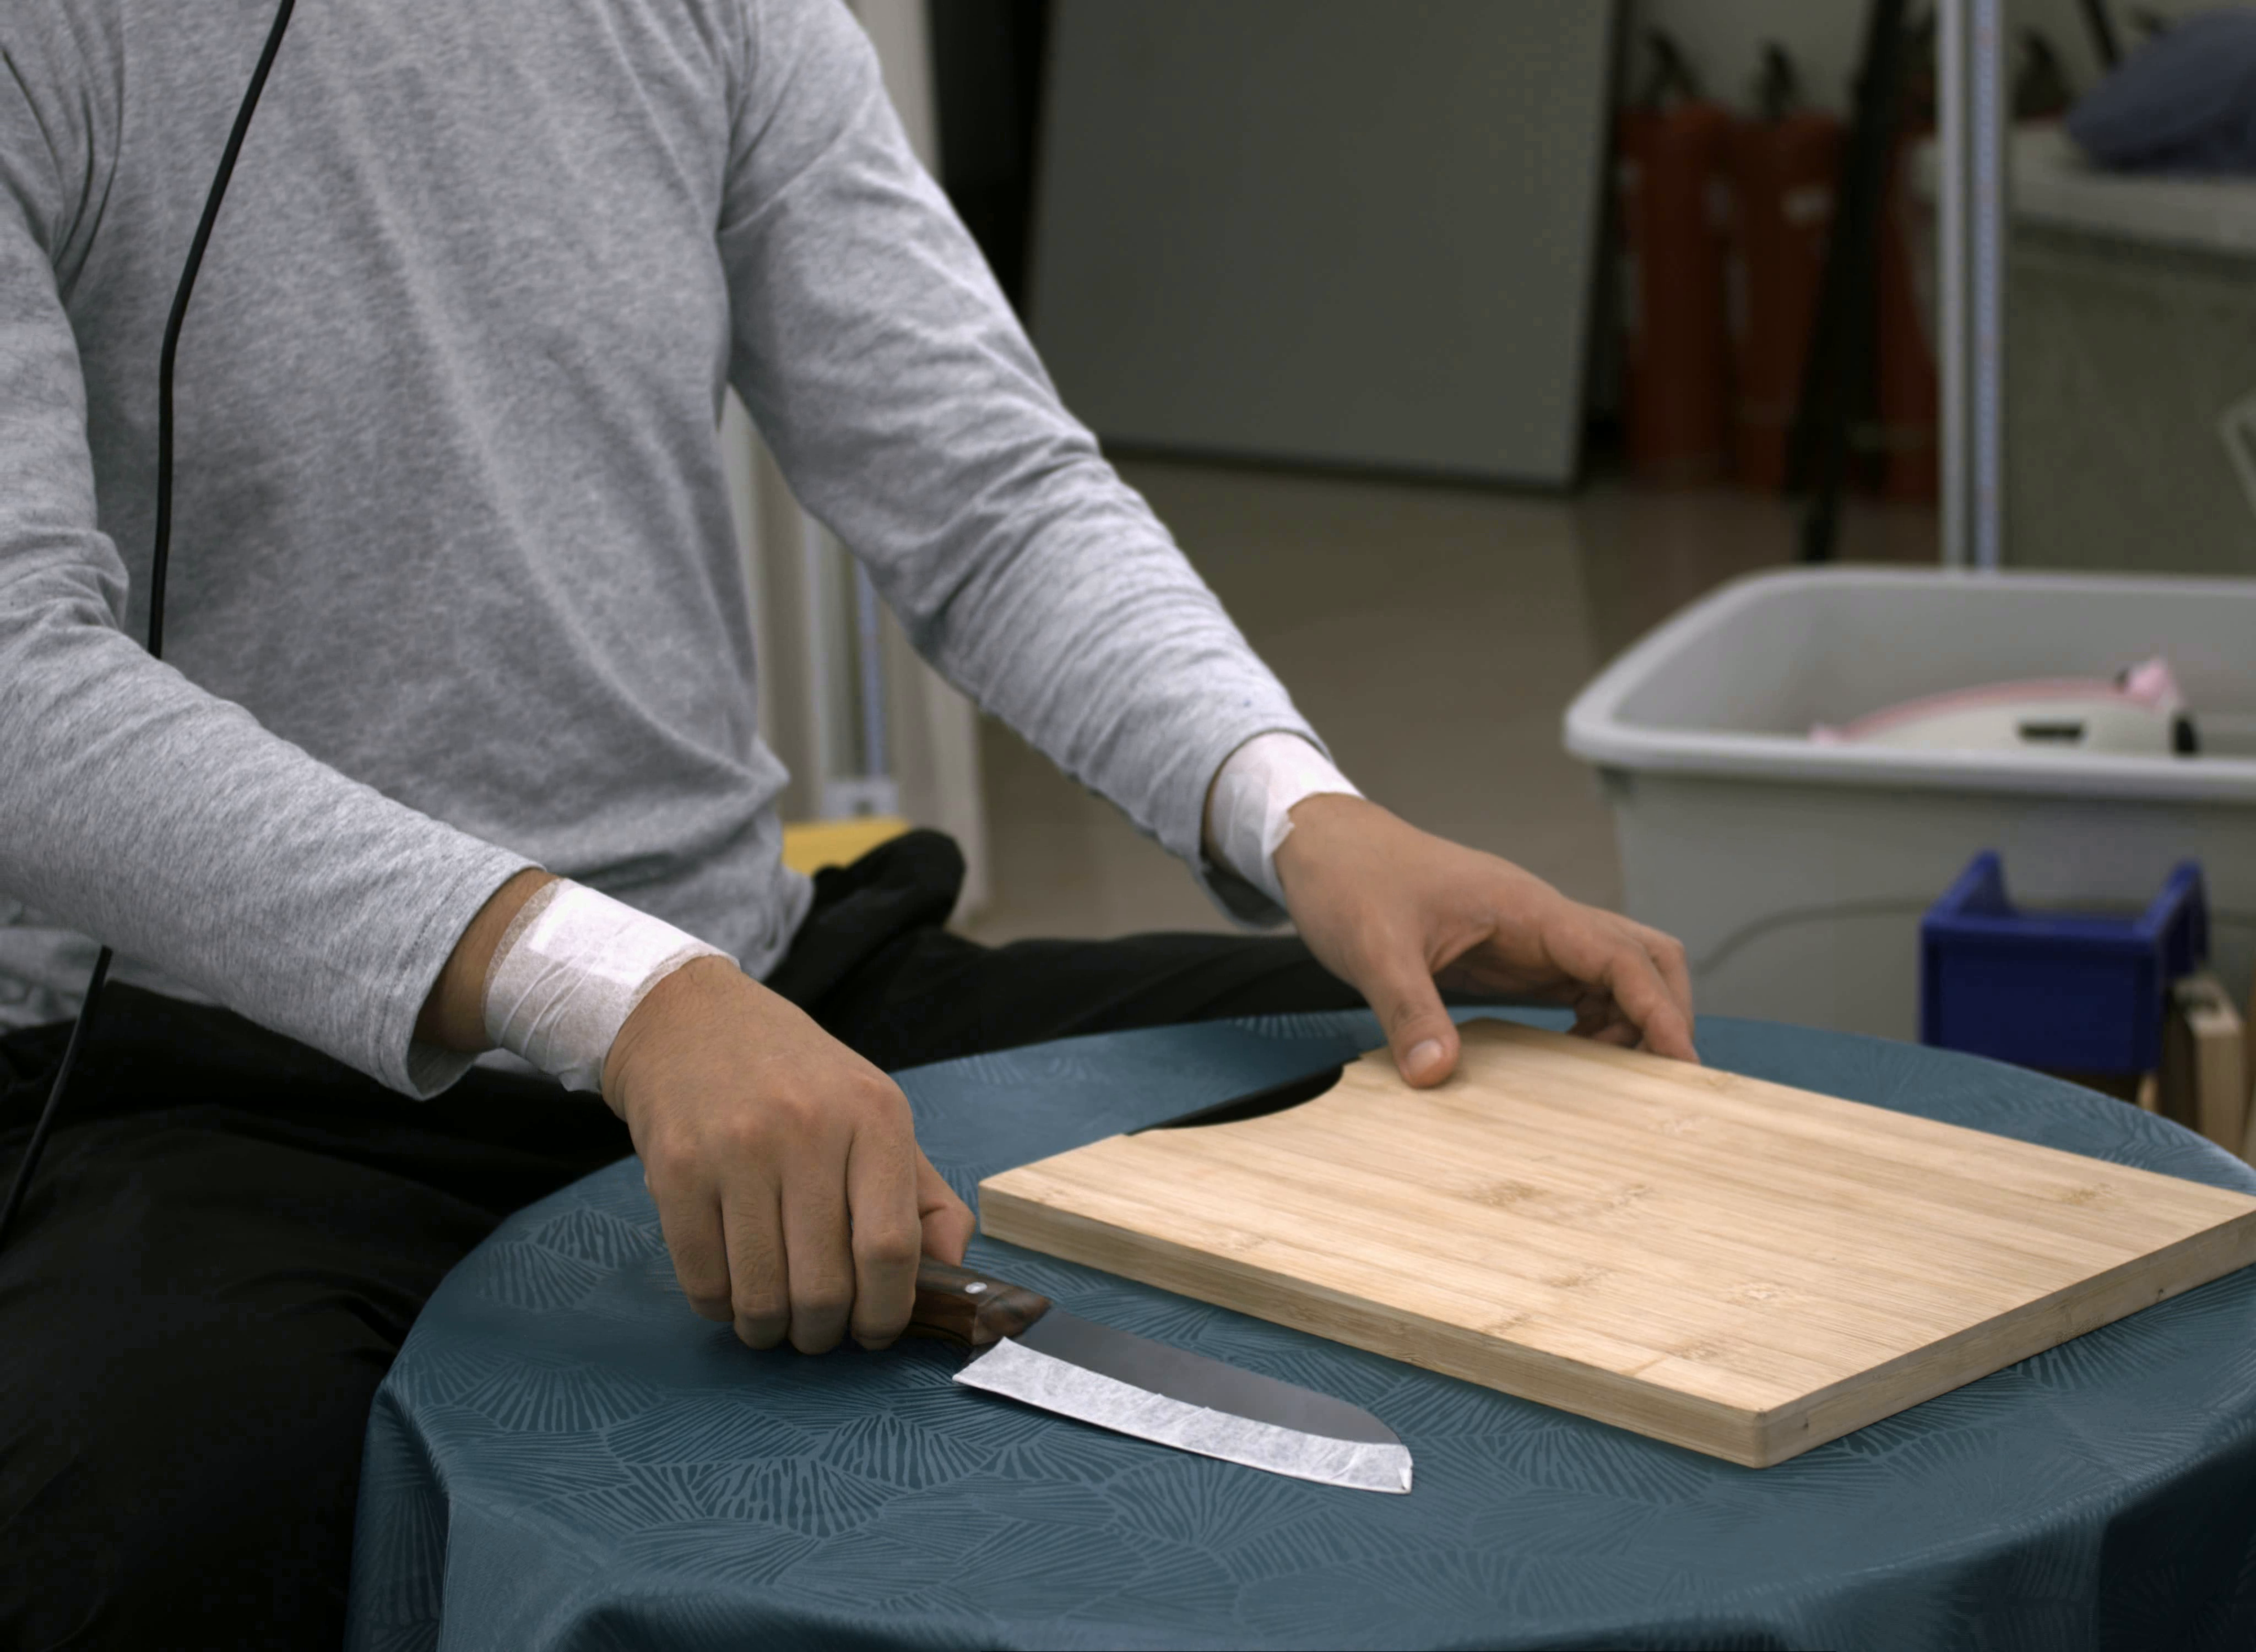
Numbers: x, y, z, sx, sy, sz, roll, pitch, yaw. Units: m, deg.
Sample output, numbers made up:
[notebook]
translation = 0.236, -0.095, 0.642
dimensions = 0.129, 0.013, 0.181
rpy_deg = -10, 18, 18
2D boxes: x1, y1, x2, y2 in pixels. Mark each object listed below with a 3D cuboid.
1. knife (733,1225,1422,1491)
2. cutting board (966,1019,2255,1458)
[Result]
[knife]
translation = -0.019, 0.158, 1.593
dimensions = 0.049, 0.020, 0.292
rpy_deg = -31, 30, -36
[cutting board]
translation = 0.147, 0.123, 1.691
dimensions = 0.245, 0.024, 0.352
rpy_deg = -15, 17, -39
